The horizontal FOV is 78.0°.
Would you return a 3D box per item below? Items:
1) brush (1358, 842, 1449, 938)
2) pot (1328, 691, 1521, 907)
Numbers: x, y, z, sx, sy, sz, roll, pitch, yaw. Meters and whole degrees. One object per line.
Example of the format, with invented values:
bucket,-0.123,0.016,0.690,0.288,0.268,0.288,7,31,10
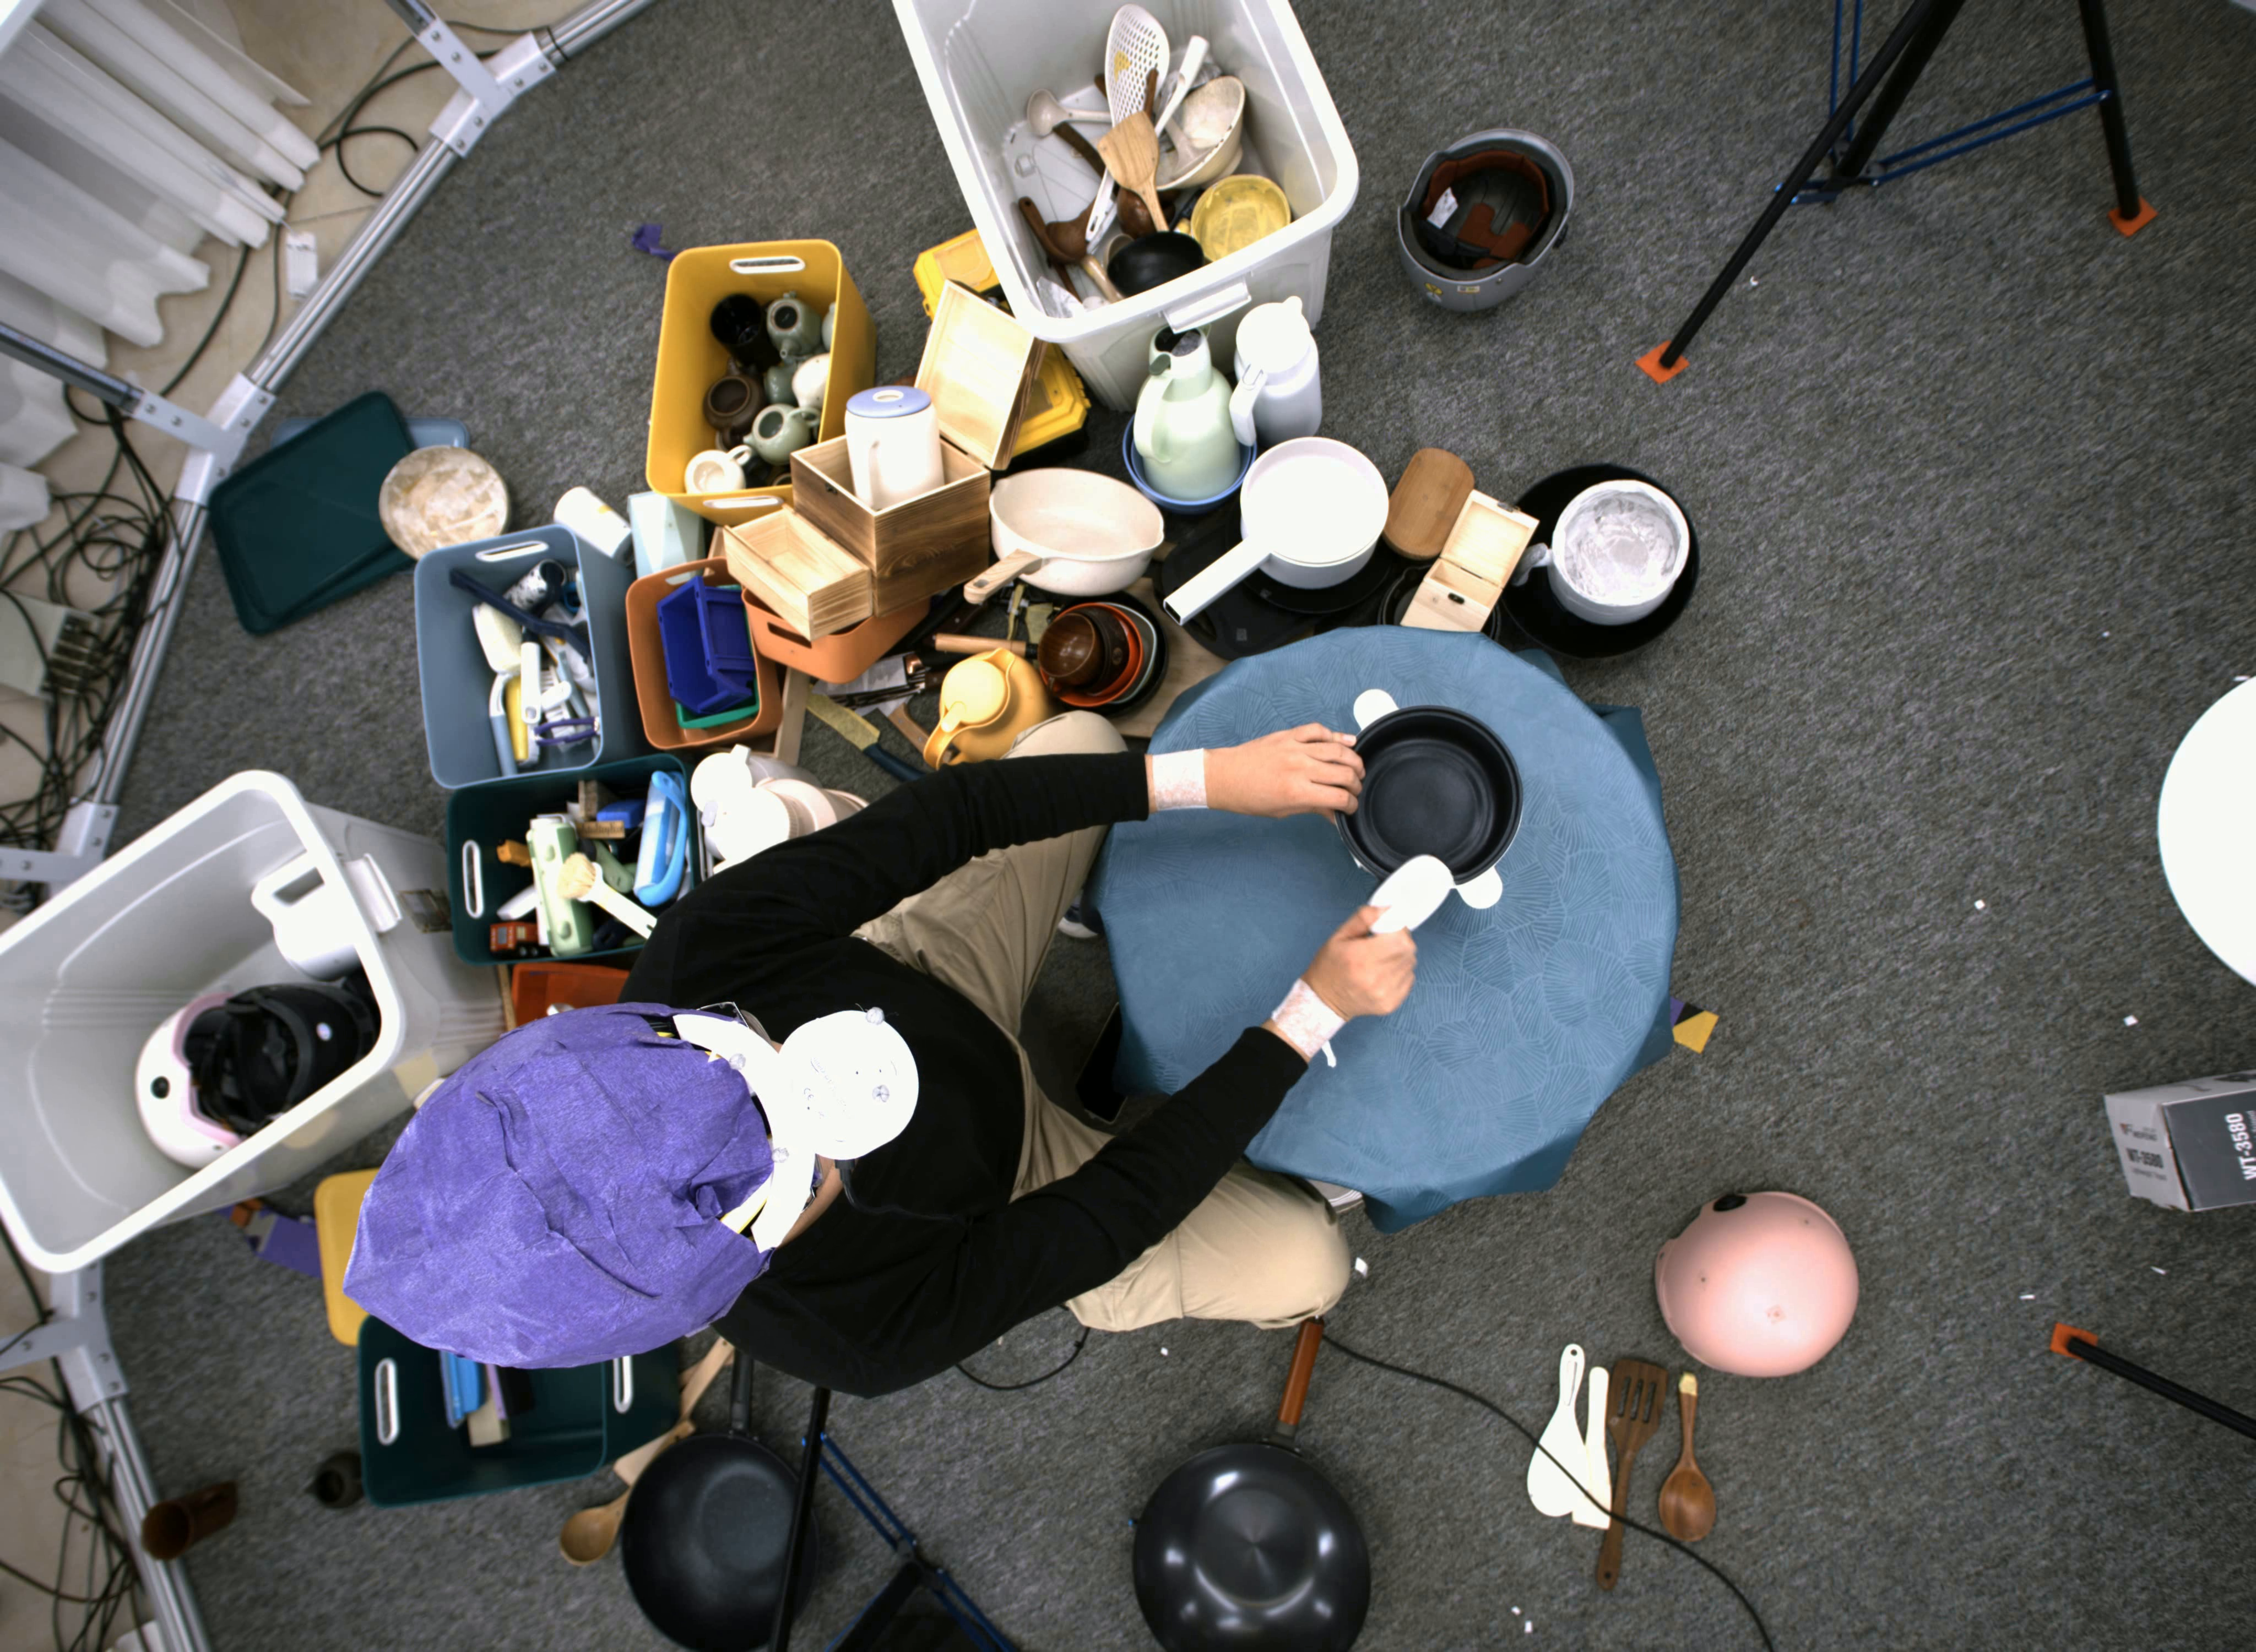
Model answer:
brush,0.257,0.065,1.305,0.050,0.071,0.101,42,117,0
pot,0.302,-0.027,1.390,0.192,0.142,0.239,-31,83,9
